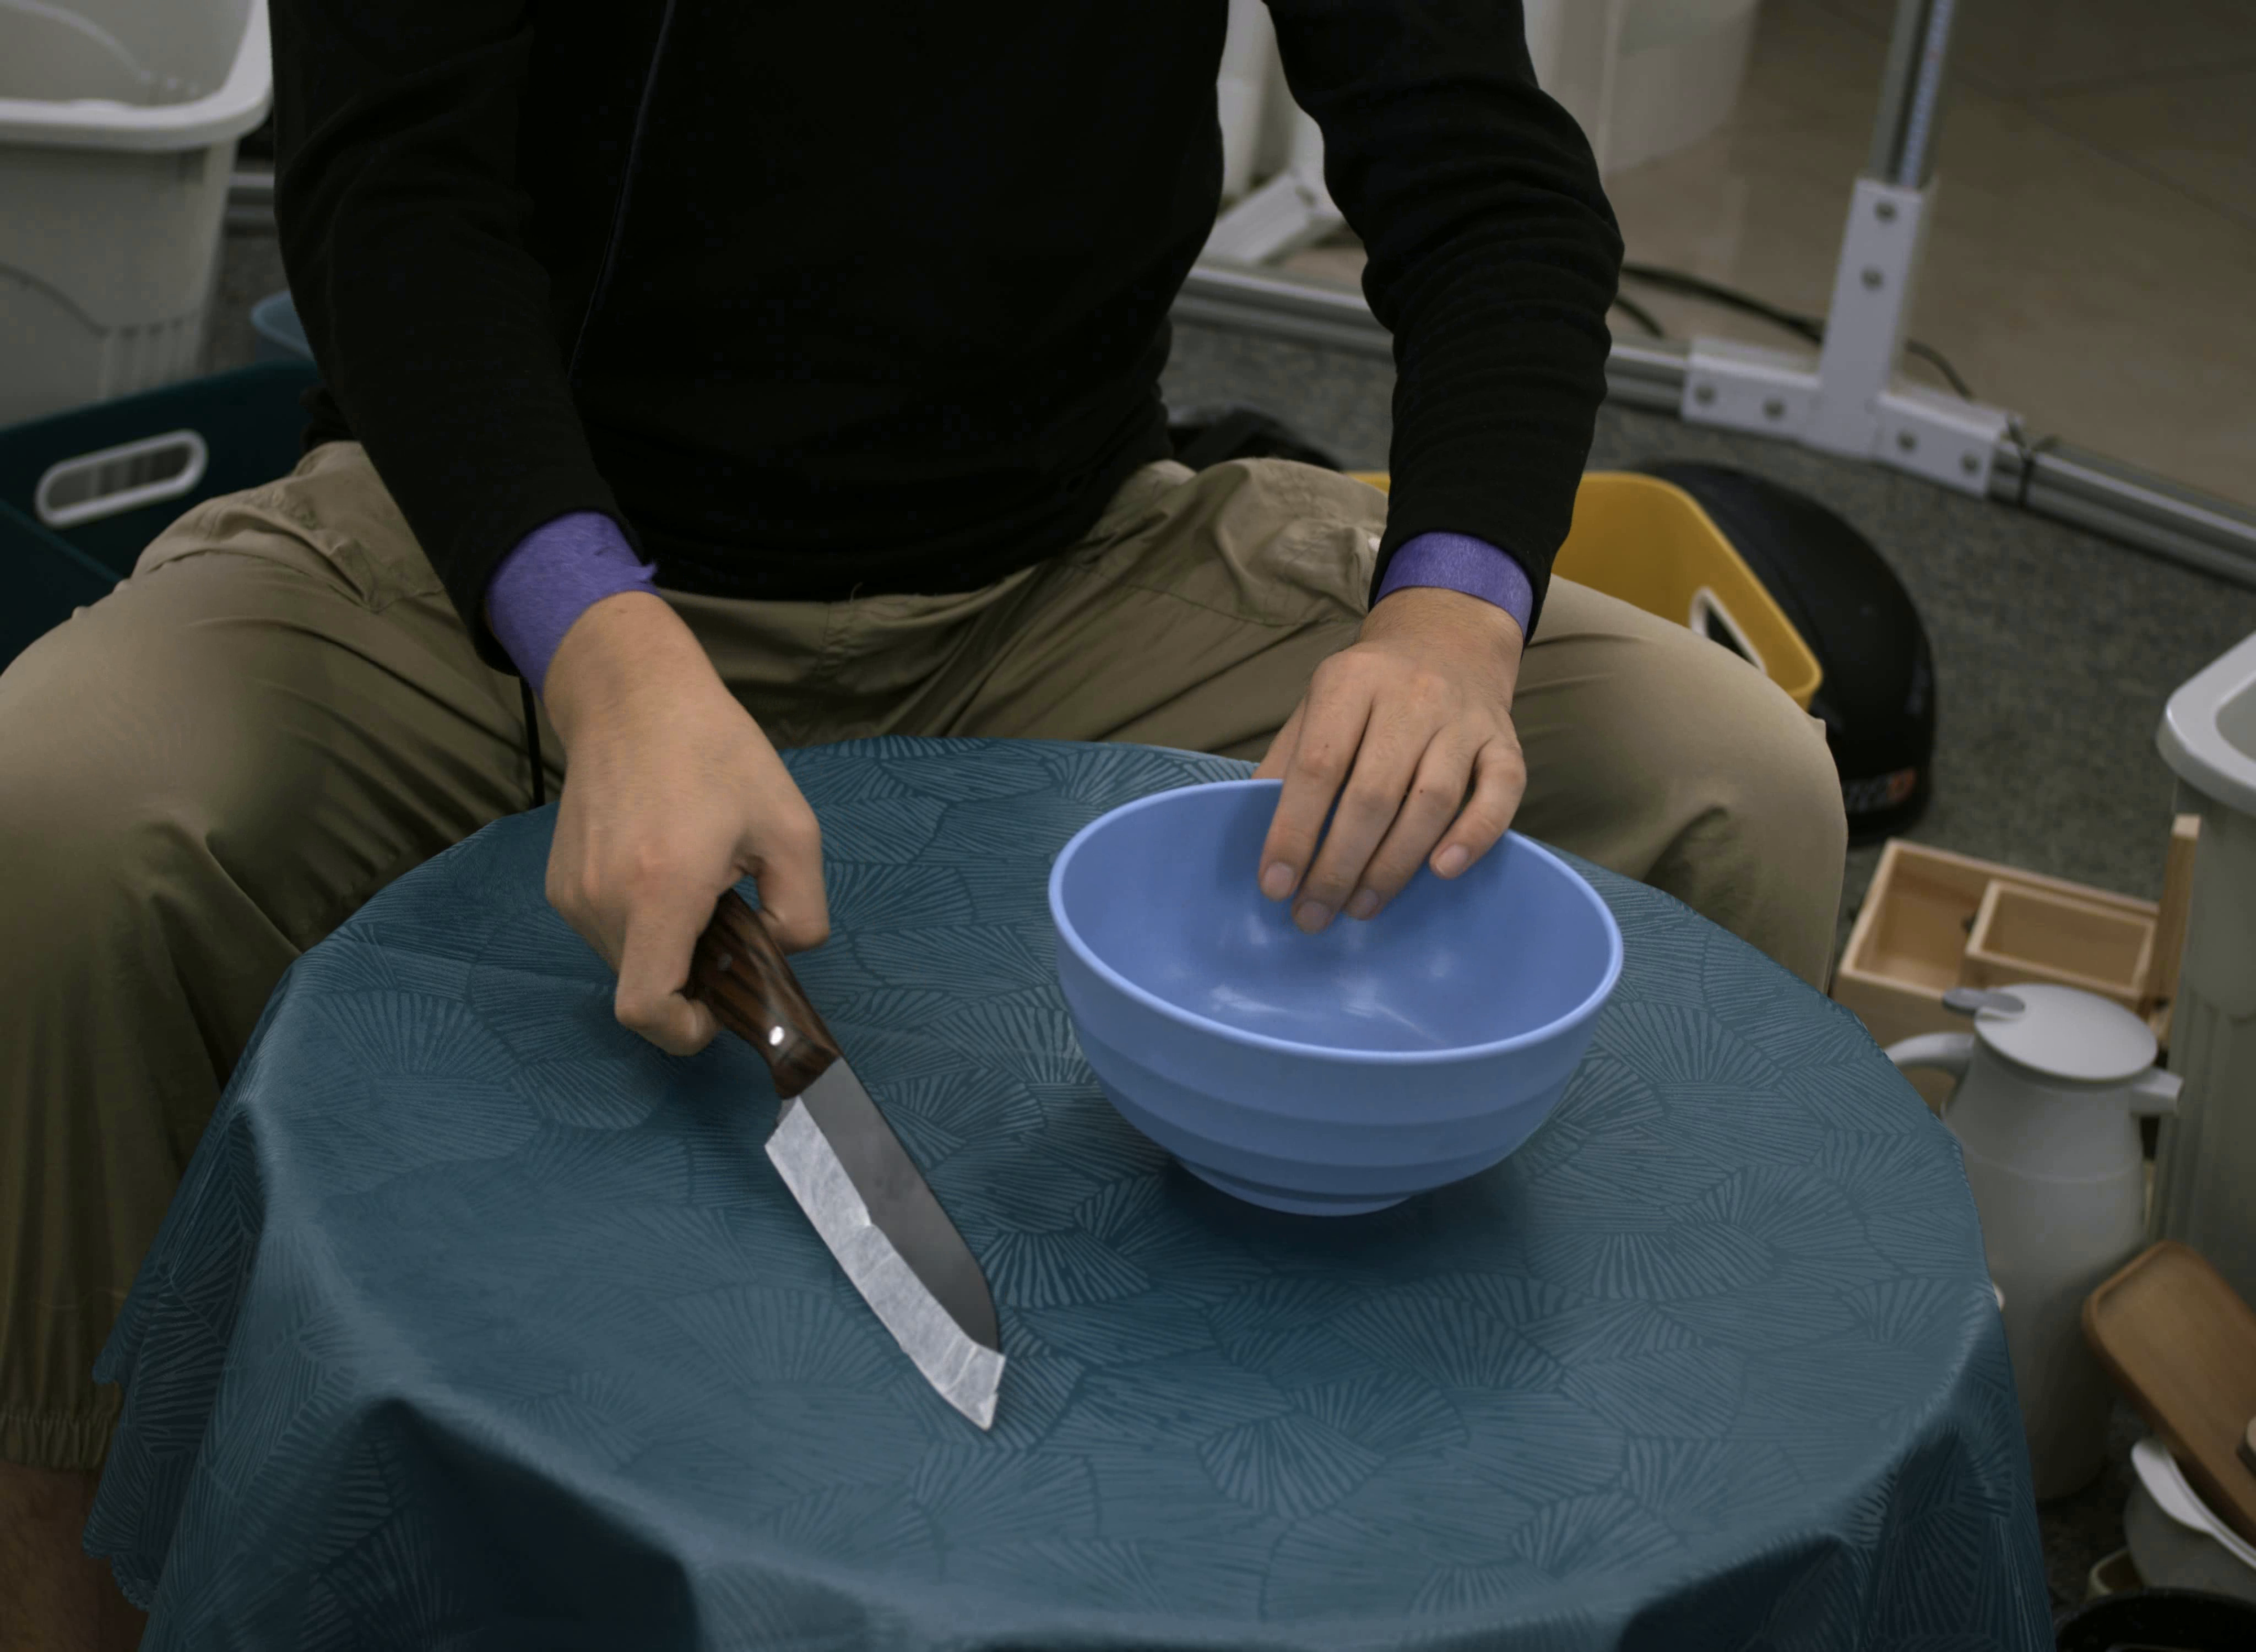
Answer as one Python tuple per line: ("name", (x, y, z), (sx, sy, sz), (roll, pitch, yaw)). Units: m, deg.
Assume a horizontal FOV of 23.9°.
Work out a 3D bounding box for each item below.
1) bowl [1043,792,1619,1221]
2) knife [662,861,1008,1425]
("bowl", (0.065, 0.072, 1.823), (0.196, 0.095, 0.197), (4, 26, -2))
("knife", (-0.098, 0.101, 1.764), (0.020, 0.050, 0.292), (27, 20, -40))
